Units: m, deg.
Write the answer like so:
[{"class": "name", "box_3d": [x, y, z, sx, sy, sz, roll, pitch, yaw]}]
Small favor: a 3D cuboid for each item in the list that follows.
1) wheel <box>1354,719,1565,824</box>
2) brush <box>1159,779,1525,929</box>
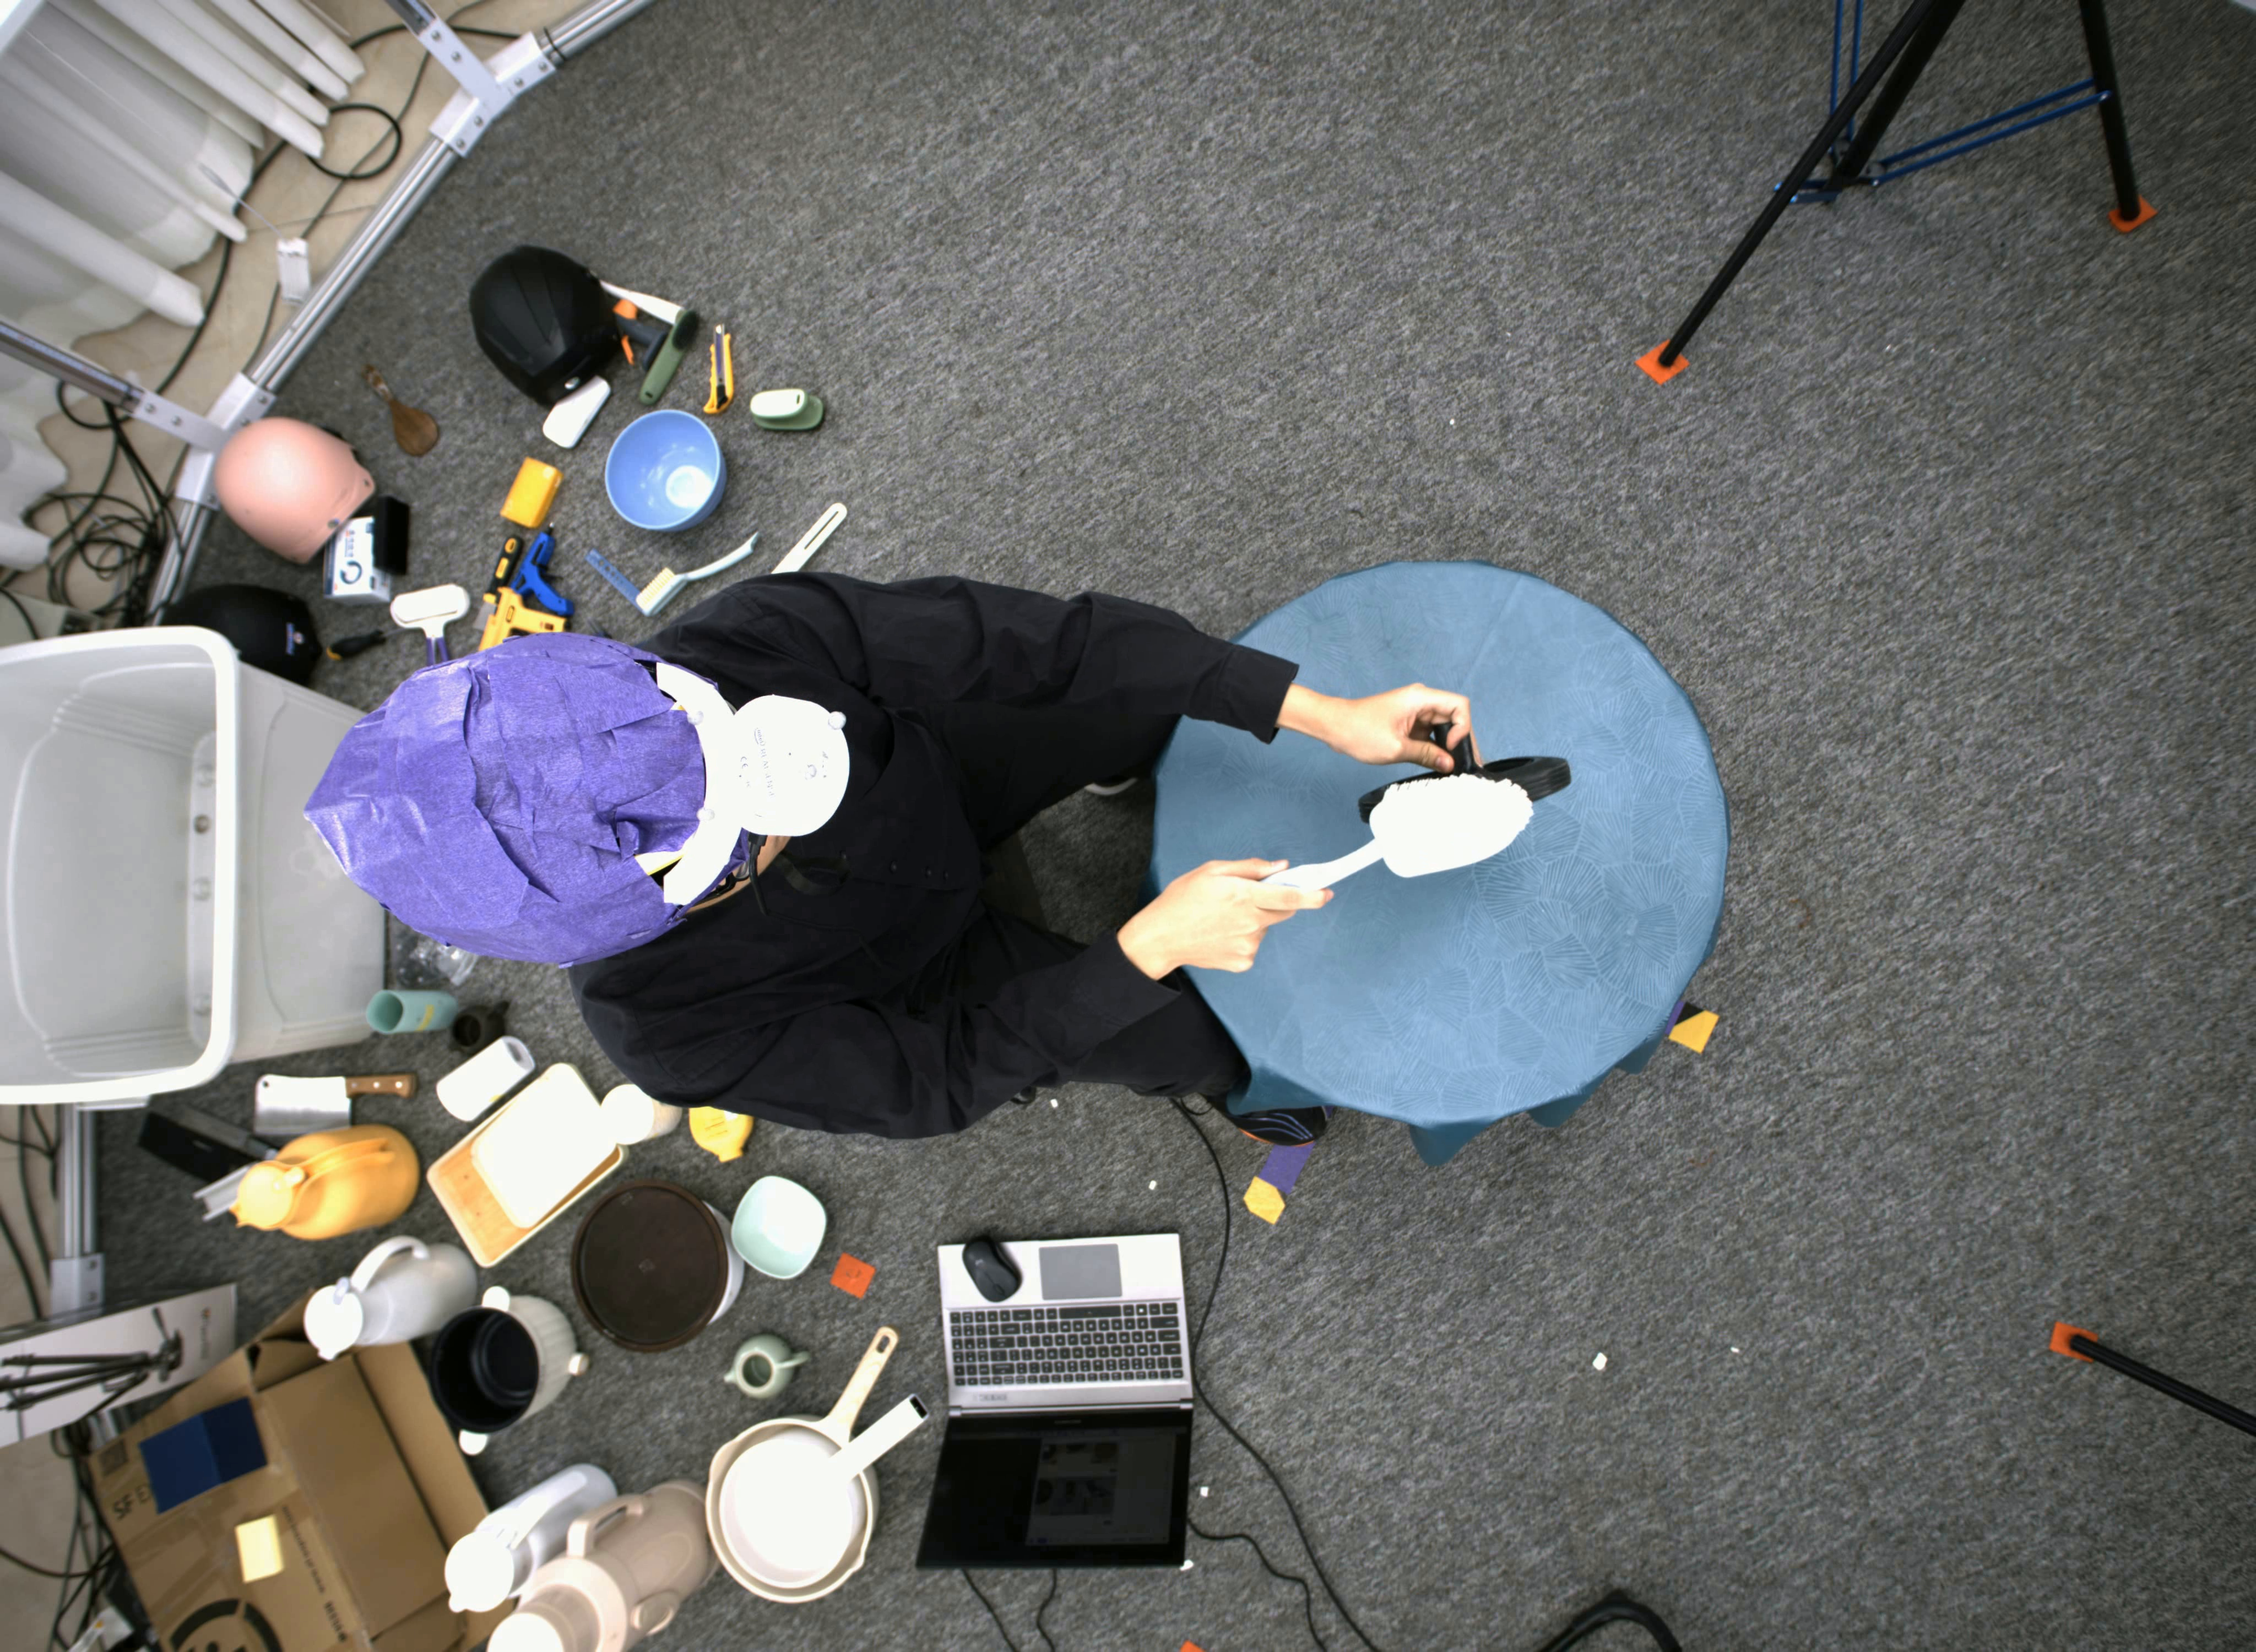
[{"class": "wheel", "box_3d": [0.293, -0.056, 1.239, 0.189, 0.187, 0.079, -15, 97, -11]}, {"class": "brush", "box_3d": [0.175, 0.021, 1.168, 0.330, 0.085, 0.082, -17, 69, 29]}]
